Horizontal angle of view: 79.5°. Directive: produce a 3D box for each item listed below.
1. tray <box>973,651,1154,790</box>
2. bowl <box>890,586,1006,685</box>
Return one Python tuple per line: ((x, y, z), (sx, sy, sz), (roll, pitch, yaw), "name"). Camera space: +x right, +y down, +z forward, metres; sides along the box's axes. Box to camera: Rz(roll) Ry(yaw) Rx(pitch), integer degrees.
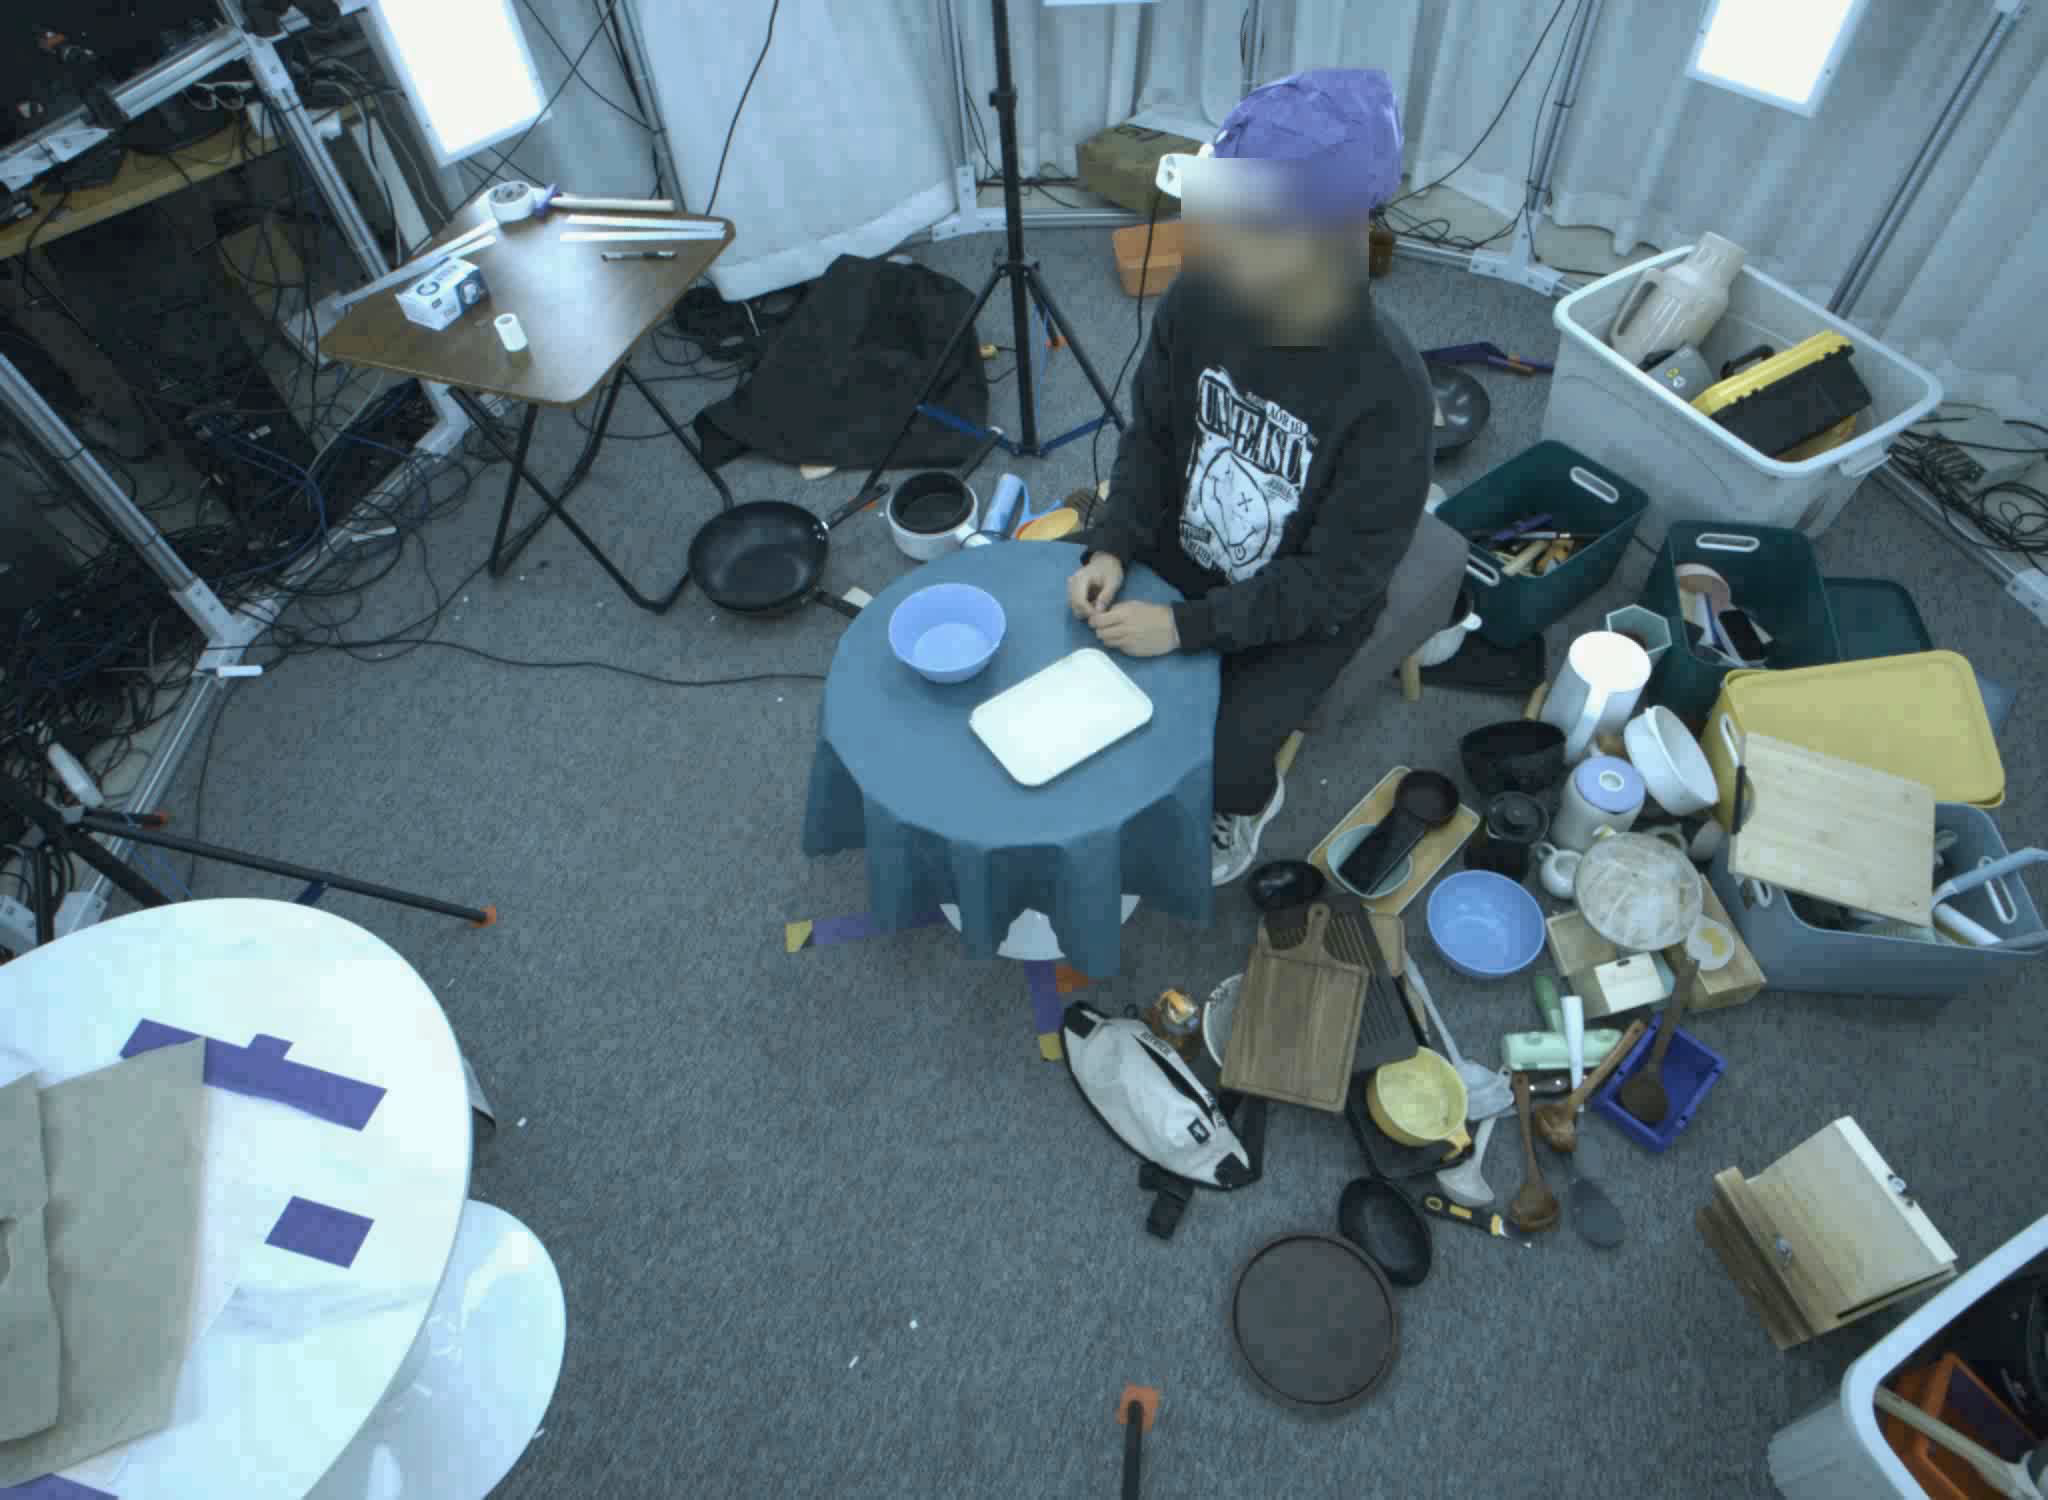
((0.058, -0.045, 1.817), (0.241, 0.017, 0.168), (-30, 60, -18), "tray")
((-0.113, -0.165, 1.873), (0.176, 0.071, 0.174), (0, 55, 1), "bowl")
